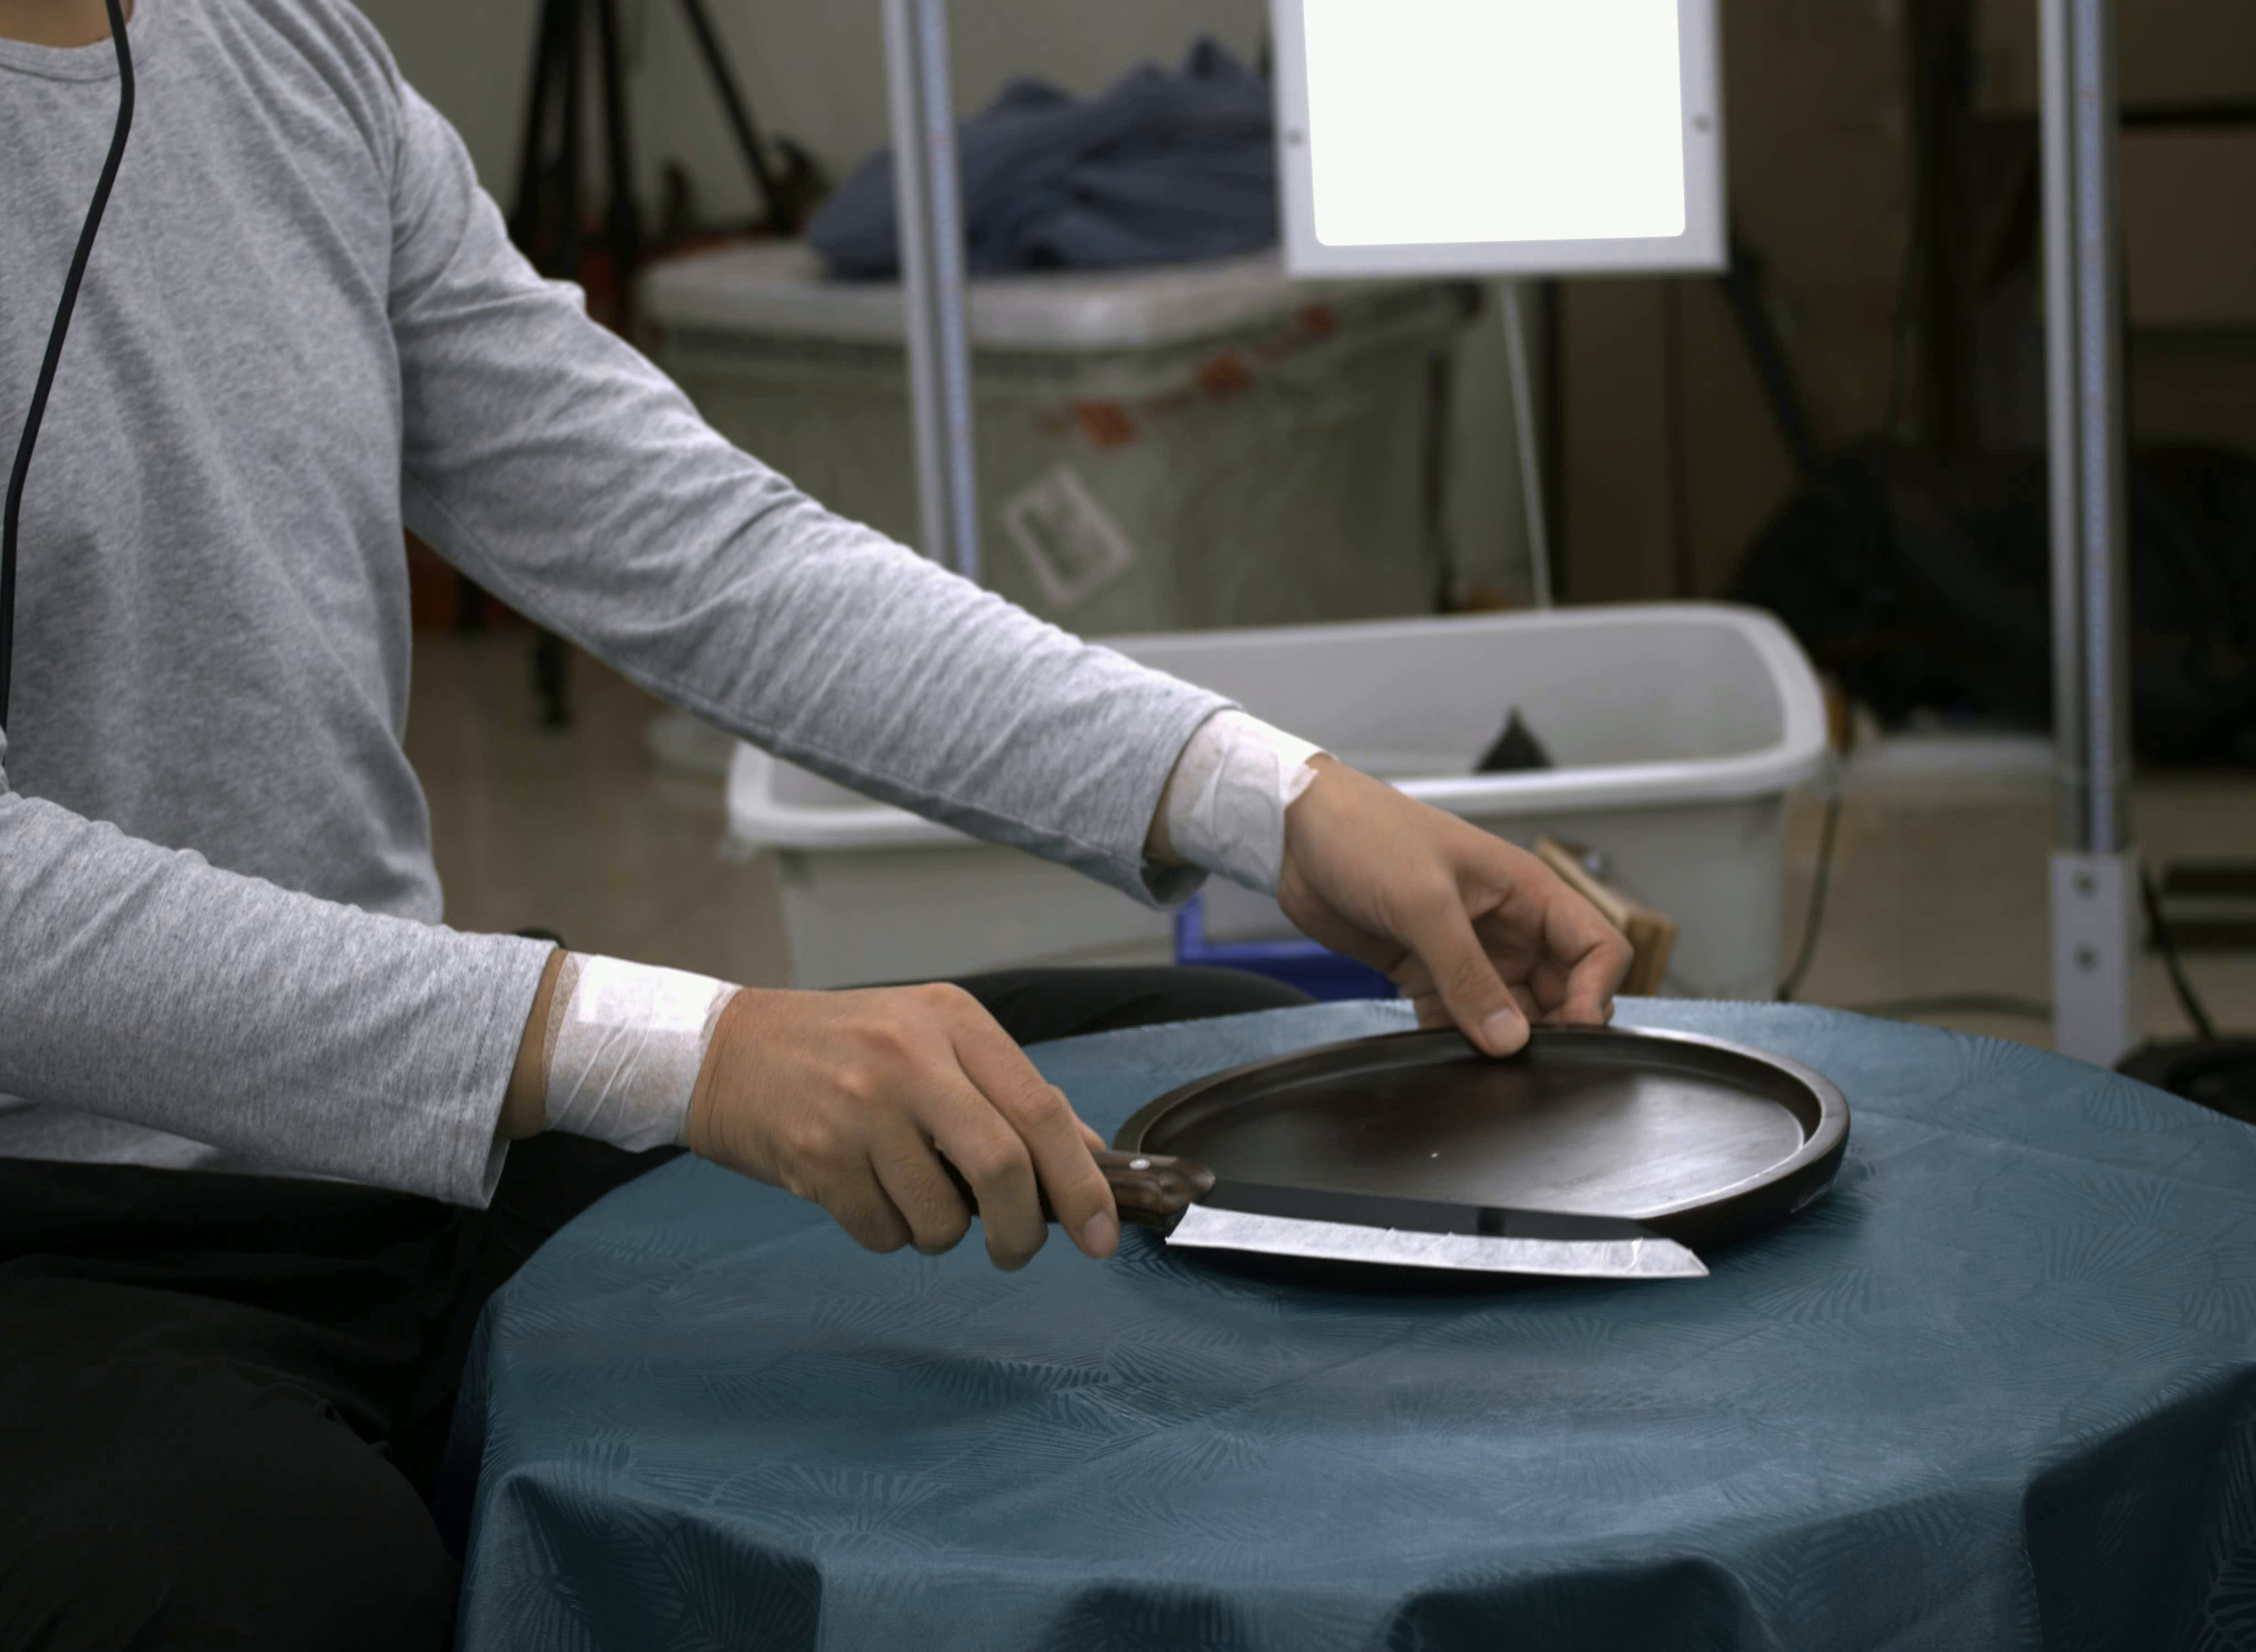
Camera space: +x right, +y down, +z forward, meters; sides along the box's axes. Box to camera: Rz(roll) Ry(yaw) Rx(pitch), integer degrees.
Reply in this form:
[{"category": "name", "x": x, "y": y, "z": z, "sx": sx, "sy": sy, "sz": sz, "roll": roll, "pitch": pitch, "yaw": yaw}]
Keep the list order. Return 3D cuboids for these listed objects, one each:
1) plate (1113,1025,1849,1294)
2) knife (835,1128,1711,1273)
[{"category": "plate", "x": 0.120, "y": 0.111, "z": 1.872, "sx": 0.254, "sy": 0.029, "sz": 0.254, "roll": -7, "pitch": 14, "yaw": 0}, {"category": "knife", "x": 0.040, "y": 0.117, "z": 1.697, "sx": 0.293, "sy": 0.020, "sz": 0.049, "roll": 5, "pitch": 28, "yaw": 22}]
